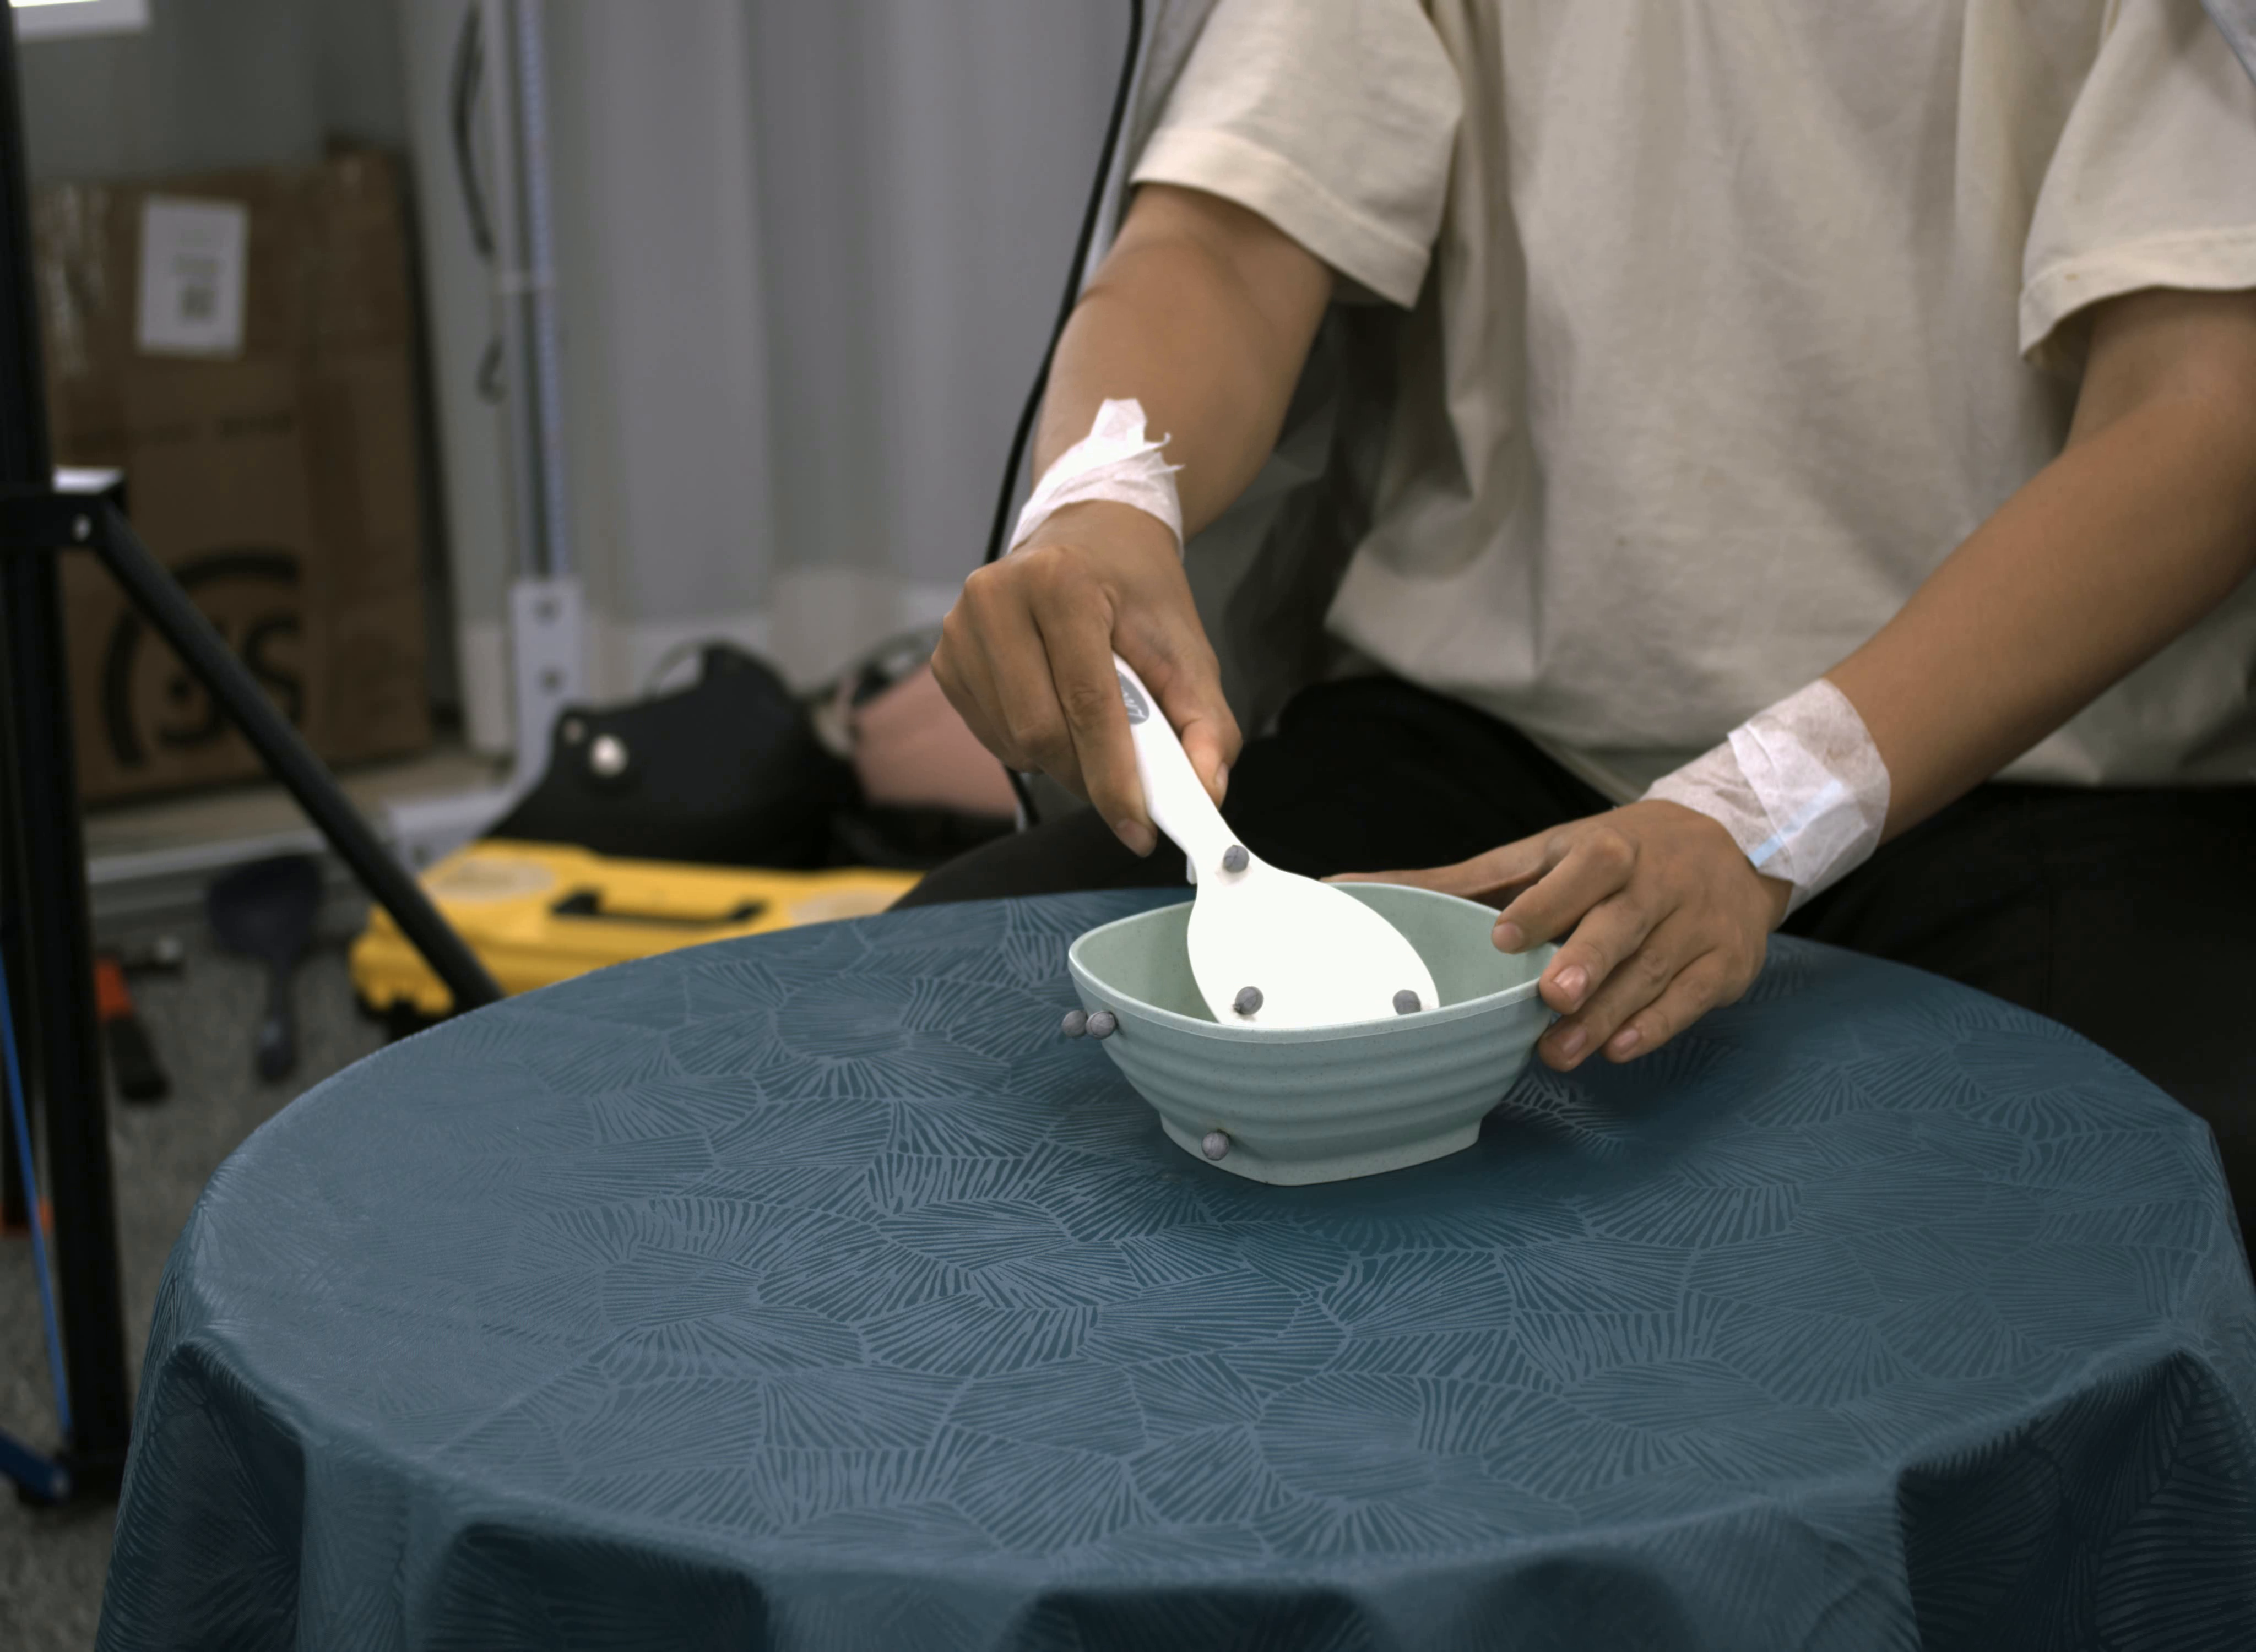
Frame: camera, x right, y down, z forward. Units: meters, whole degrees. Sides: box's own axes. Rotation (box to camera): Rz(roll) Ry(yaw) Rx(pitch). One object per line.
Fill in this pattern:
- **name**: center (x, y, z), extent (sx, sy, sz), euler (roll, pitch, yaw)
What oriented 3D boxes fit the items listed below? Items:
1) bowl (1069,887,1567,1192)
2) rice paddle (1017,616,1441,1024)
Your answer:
- **bowl**: center (0.058, 0.067, 1.592), extent (0.151, 0.058, 0.152), euler (-4, 15, 0)
- **rice paddle**: center (0.029, 0.009, 1.635), extent (0.067, 0.029, 0.209), euler (-20, 49, -21)
